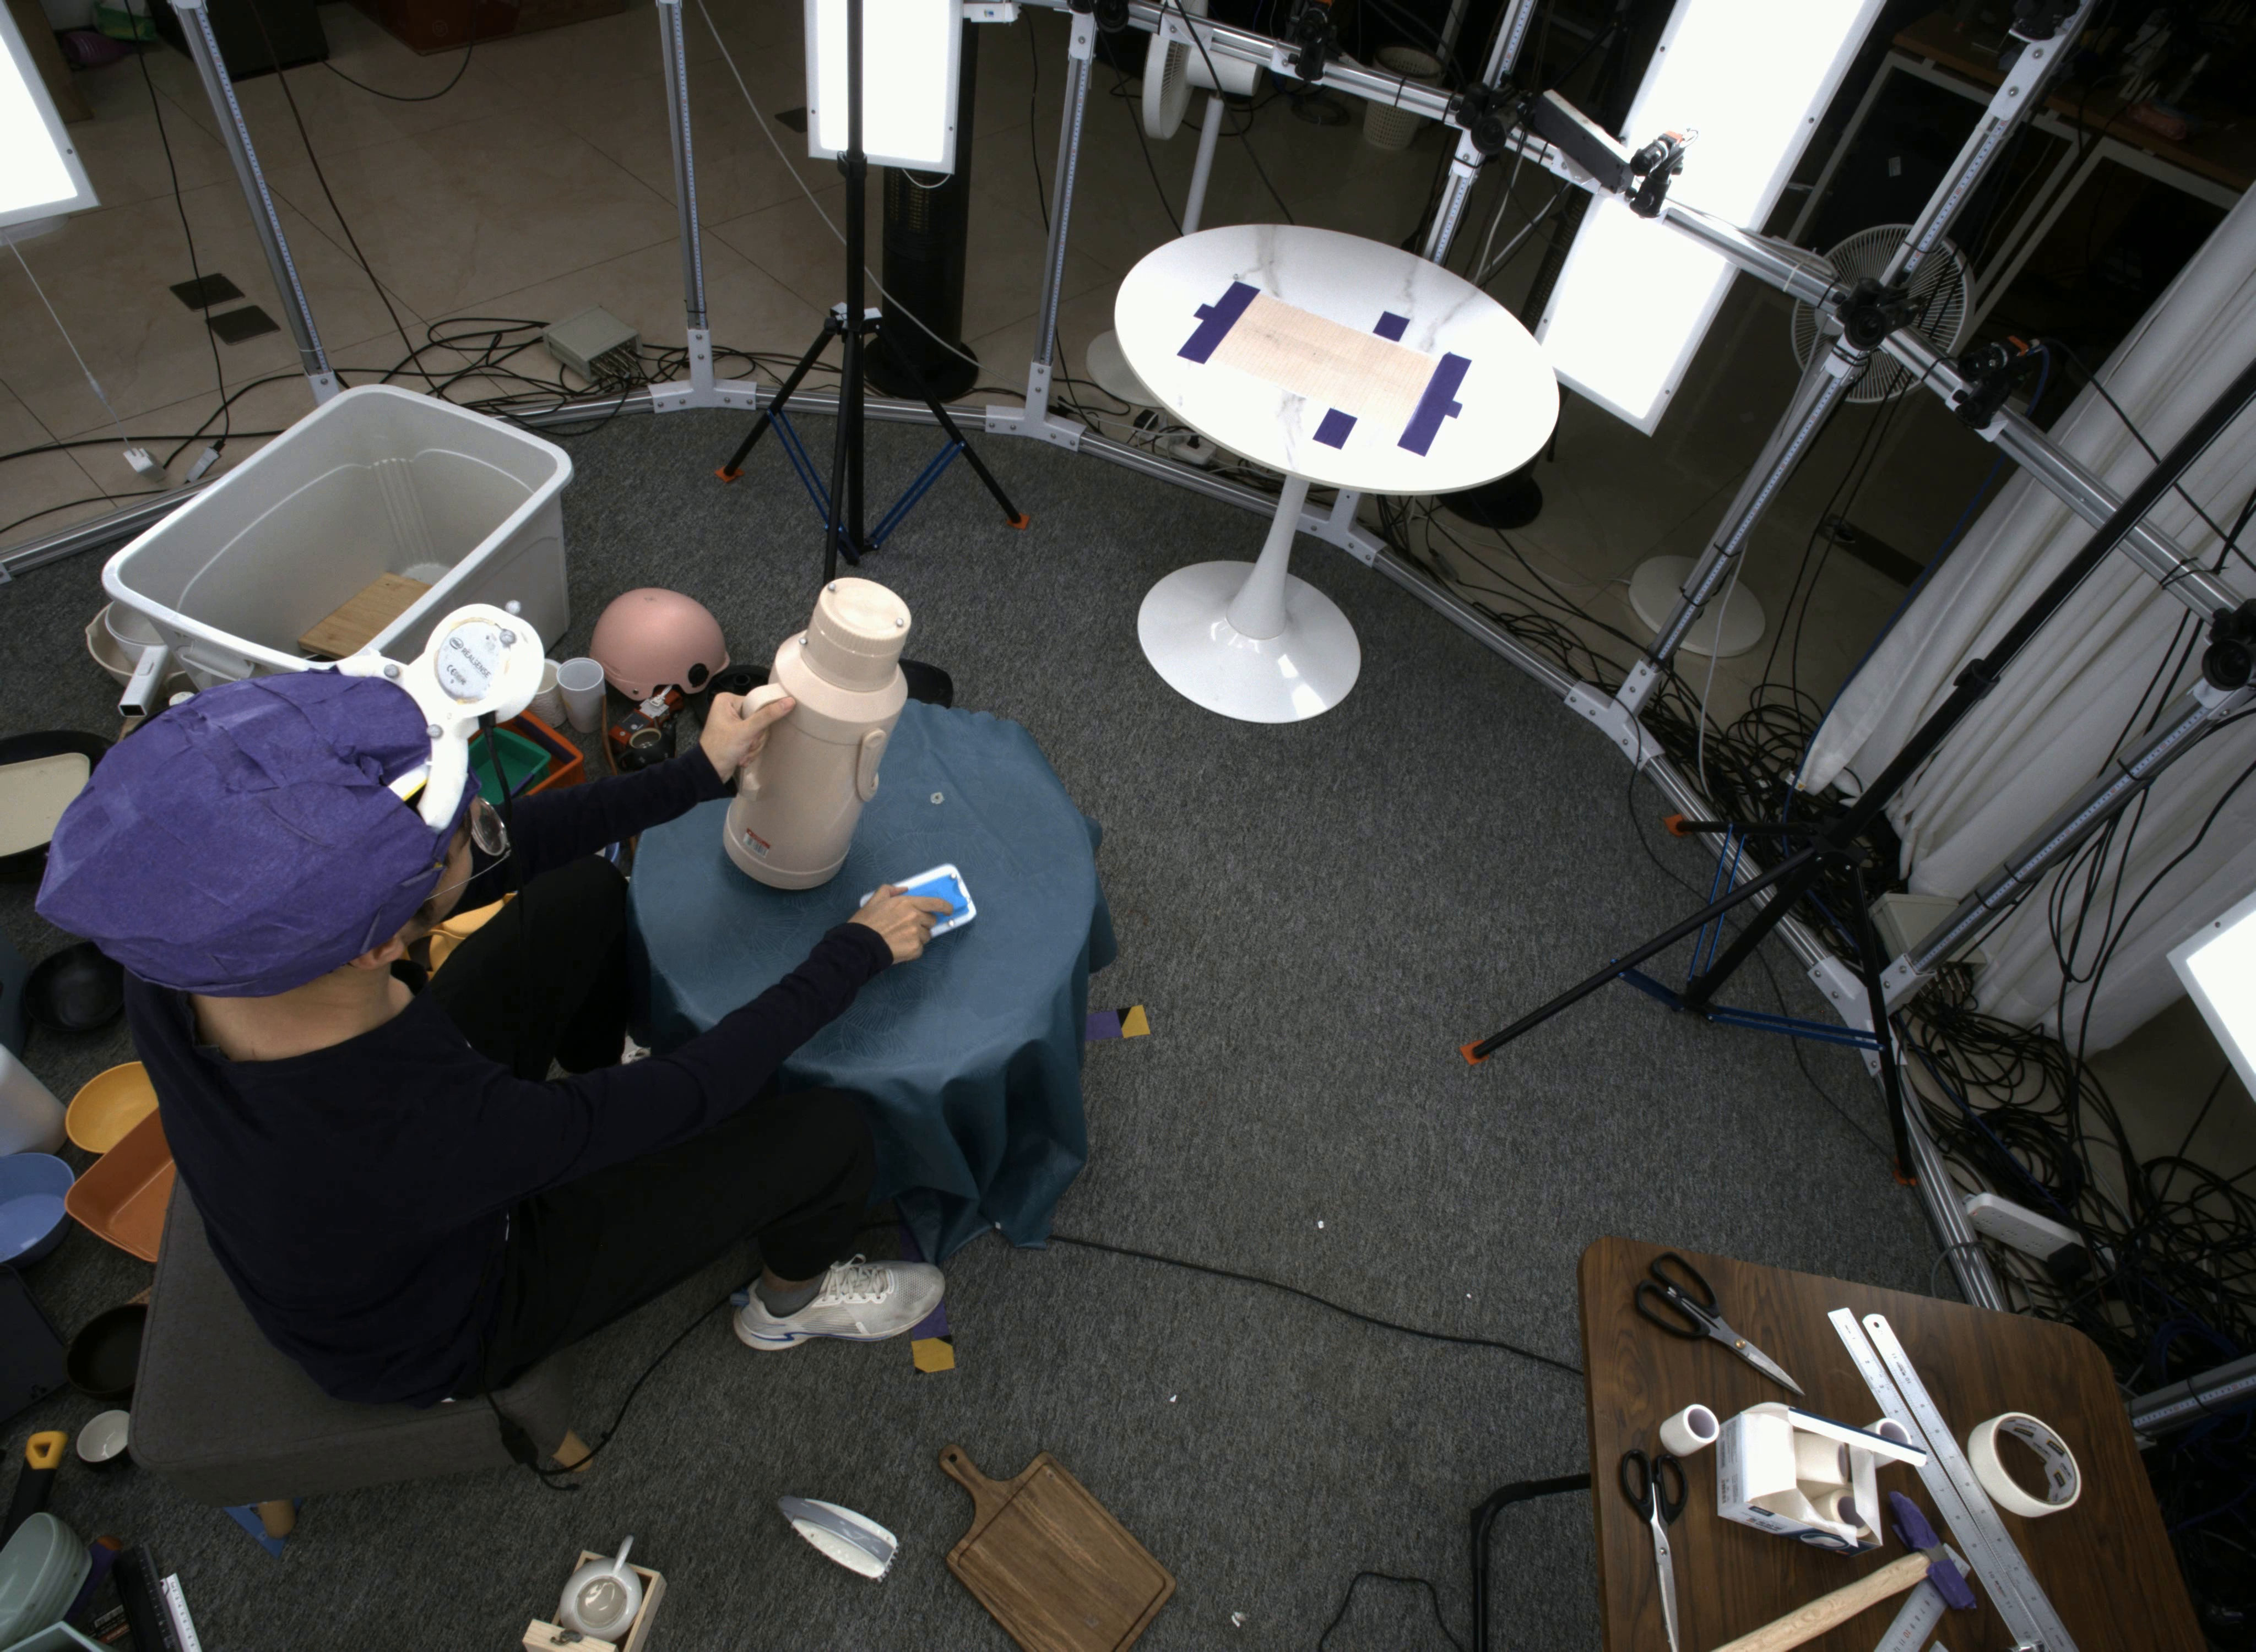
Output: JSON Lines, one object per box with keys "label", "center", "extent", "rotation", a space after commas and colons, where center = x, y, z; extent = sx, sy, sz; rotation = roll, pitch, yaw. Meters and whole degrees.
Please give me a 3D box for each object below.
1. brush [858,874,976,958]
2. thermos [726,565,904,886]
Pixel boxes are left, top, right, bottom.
{"label": "brush", "center": [-0.262, 0.103, 1.631], "extent": [0.145, 0.056, 0.083], "rotation": [-20, 75, -33]}
{"label": "thermos", "center": [-0.381, -0.114, 1.543], "extent": [0.209, 0.411, 0.172], "rotation": [-22, 62, -42]}
